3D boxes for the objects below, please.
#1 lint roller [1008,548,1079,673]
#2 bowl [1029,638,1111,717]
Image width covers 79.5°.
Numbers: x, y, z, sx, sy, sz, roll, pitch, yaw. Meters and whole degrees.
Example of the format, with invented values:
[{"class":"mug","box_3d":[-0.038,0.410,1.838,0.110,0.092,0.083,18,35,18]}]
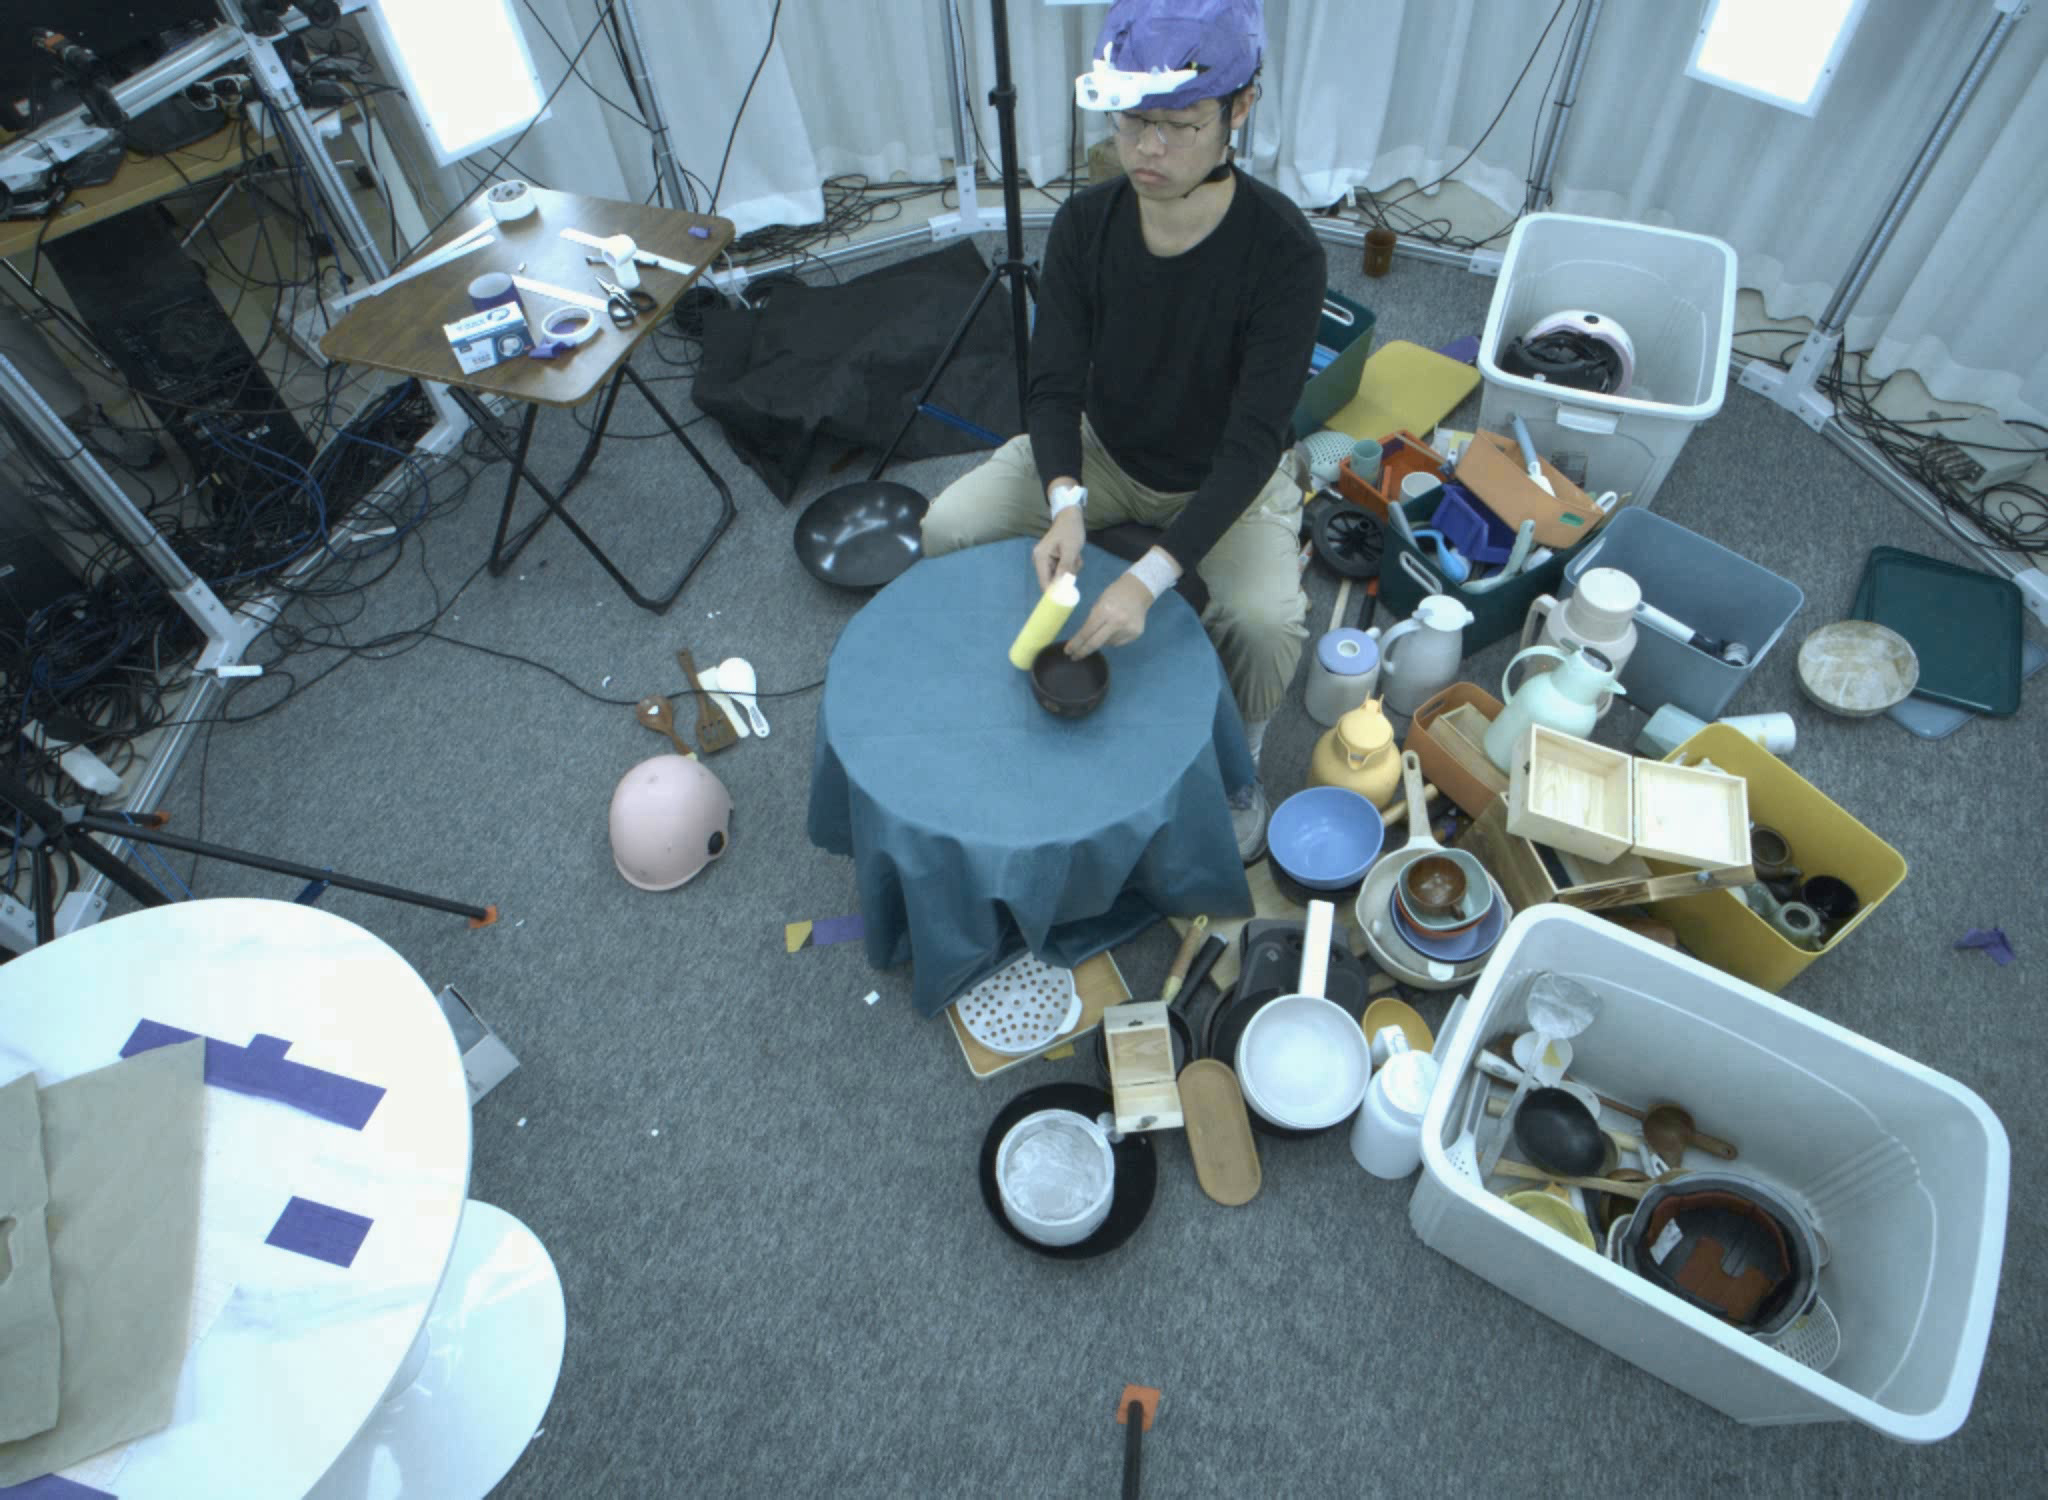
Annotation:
[{"class":"lint roller","box_3d":[0.032,-0.234,1.833,0.052,0.173,0.190,15,53,-16]},{"class":"bowl","box_3d":[0.066,-0.099,1.806,0.118,0.070,0.117,3,59,-3]}]
